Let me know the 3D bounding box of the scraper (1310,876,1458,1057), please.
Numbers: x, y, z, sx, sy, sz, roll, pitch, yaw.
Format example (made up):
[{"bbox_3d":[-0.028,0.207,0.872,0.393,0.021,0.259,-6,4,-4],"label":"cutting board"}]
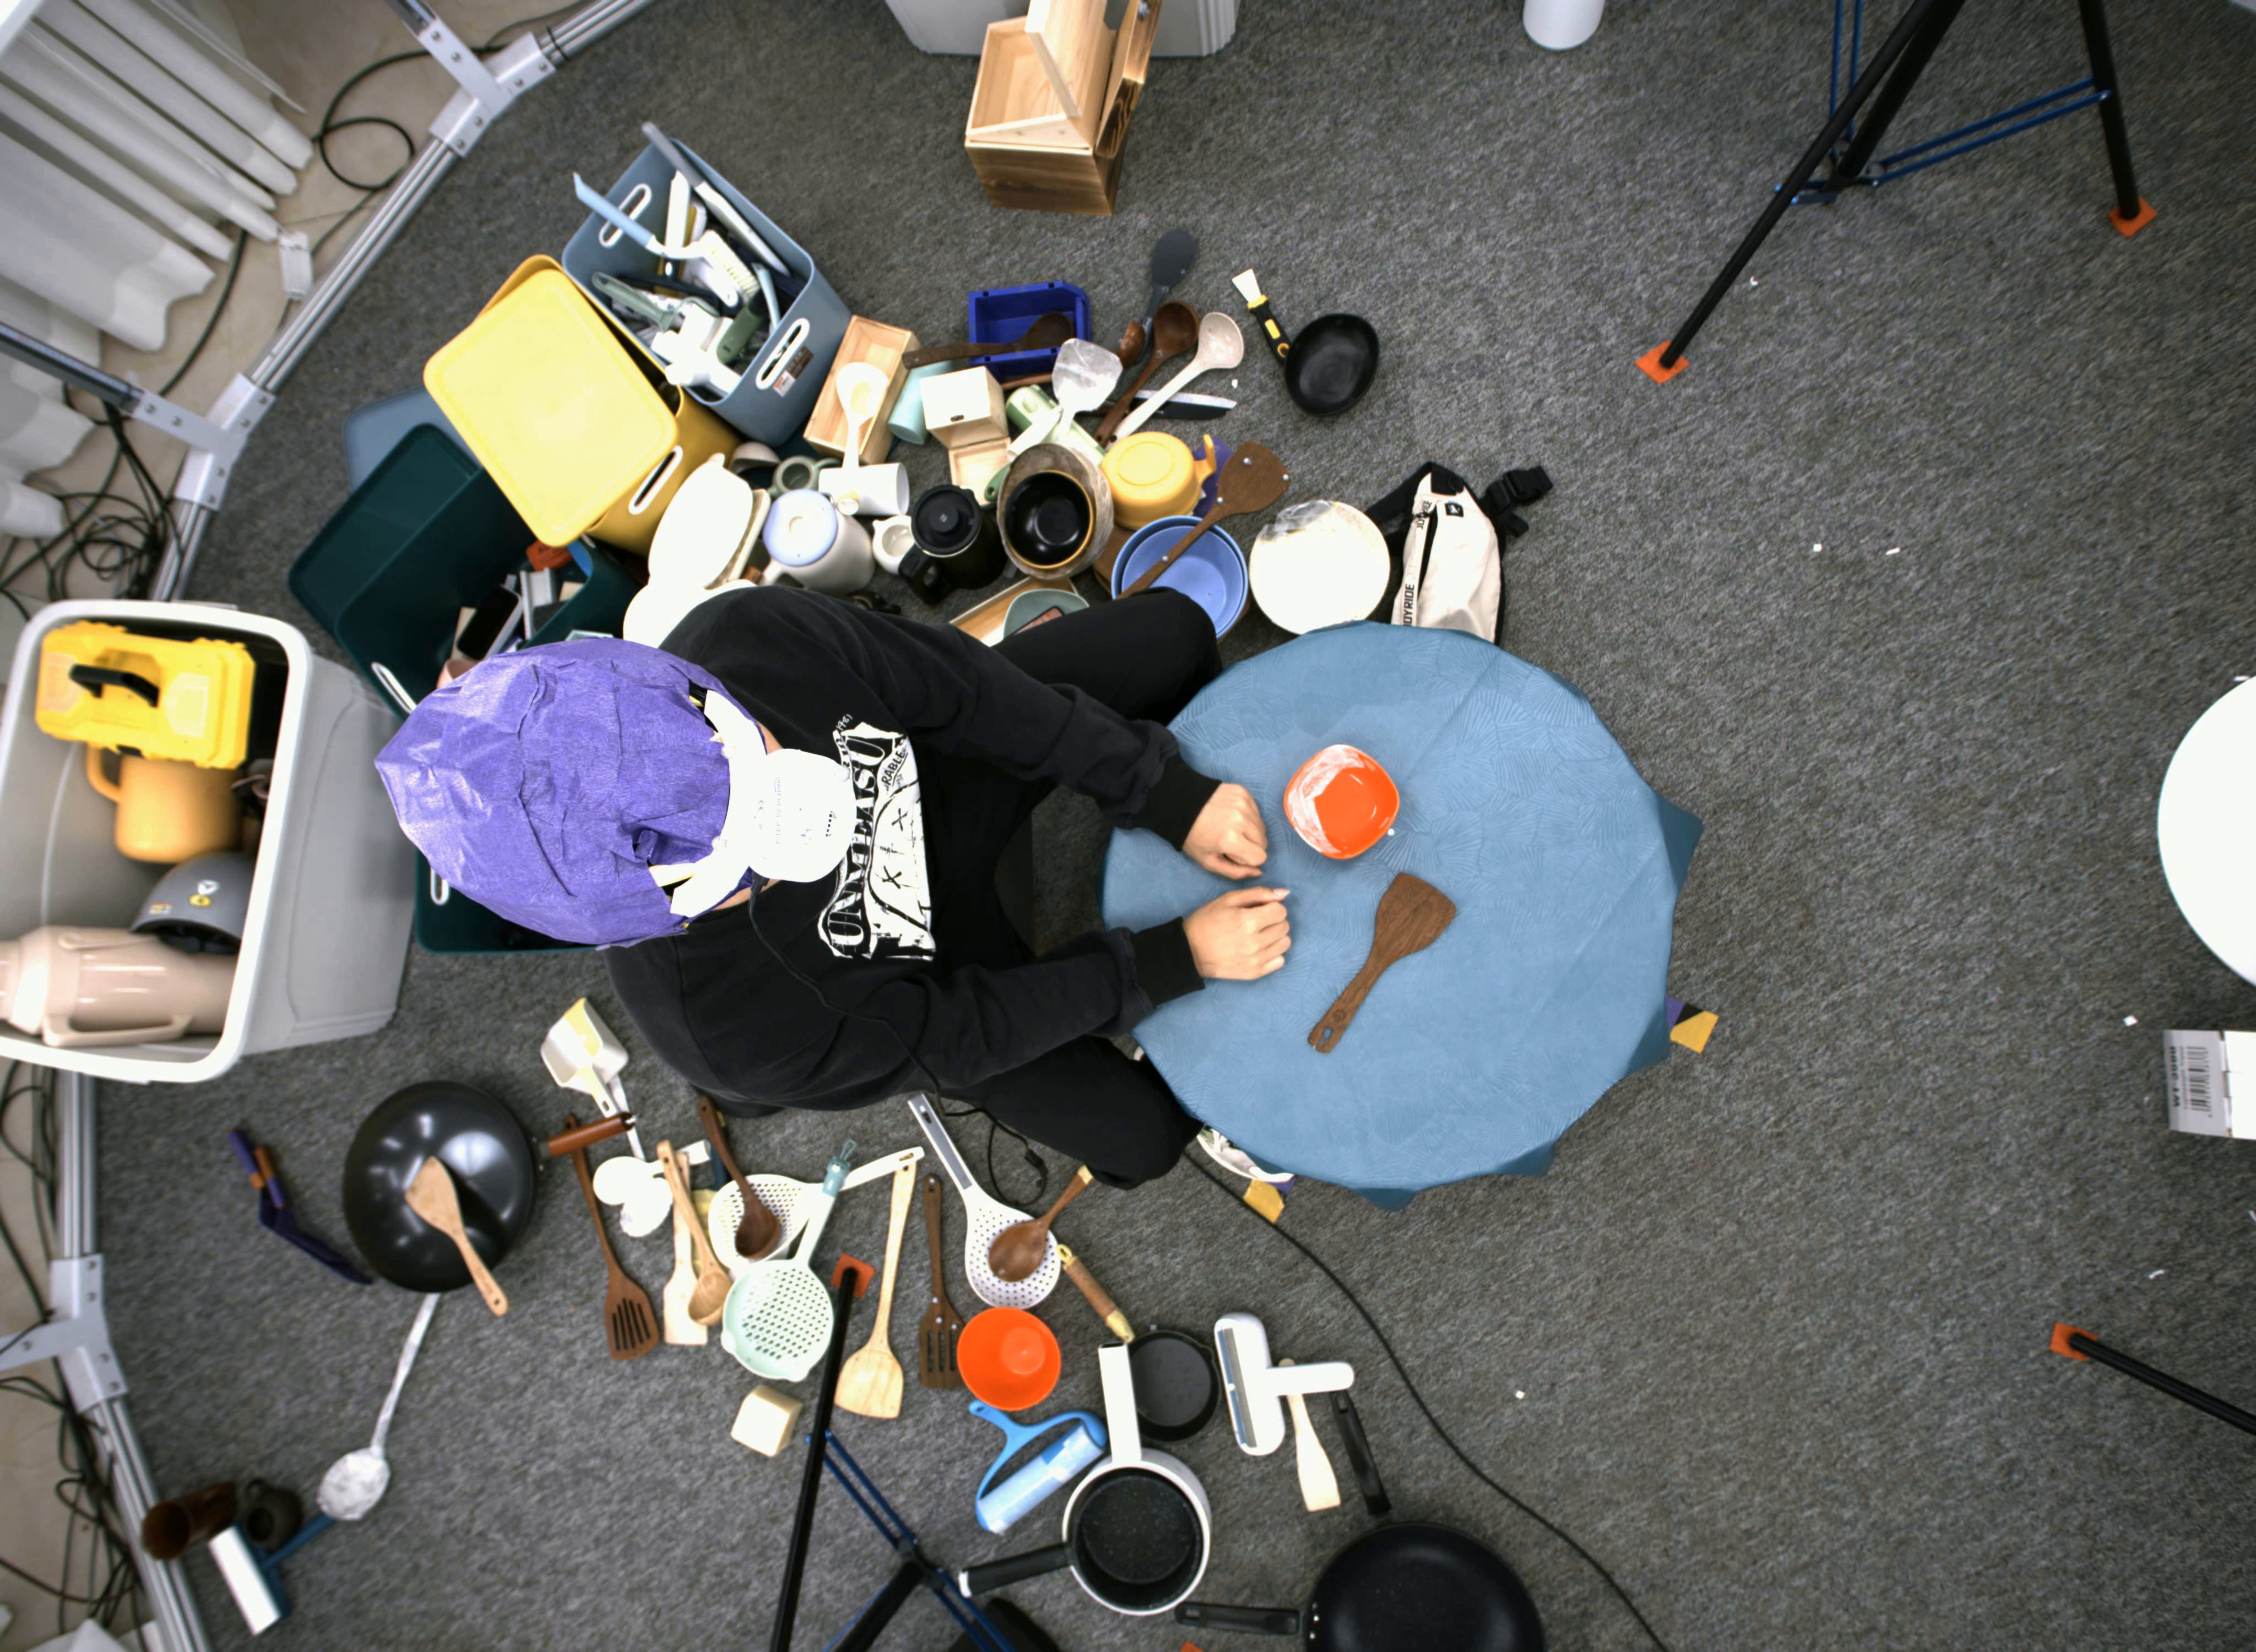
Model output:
[{"bbox_3d":[0.261,0.151,1.457,0.075,0.011,0.212,36,94,11],"label":"scraper"}]

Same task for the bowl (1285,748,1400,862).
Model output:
[{"bbox_3d":[0.226,-0.021,1.455,0.119,0.051,0.118,-1,87,10],"label":"bowl"}]
